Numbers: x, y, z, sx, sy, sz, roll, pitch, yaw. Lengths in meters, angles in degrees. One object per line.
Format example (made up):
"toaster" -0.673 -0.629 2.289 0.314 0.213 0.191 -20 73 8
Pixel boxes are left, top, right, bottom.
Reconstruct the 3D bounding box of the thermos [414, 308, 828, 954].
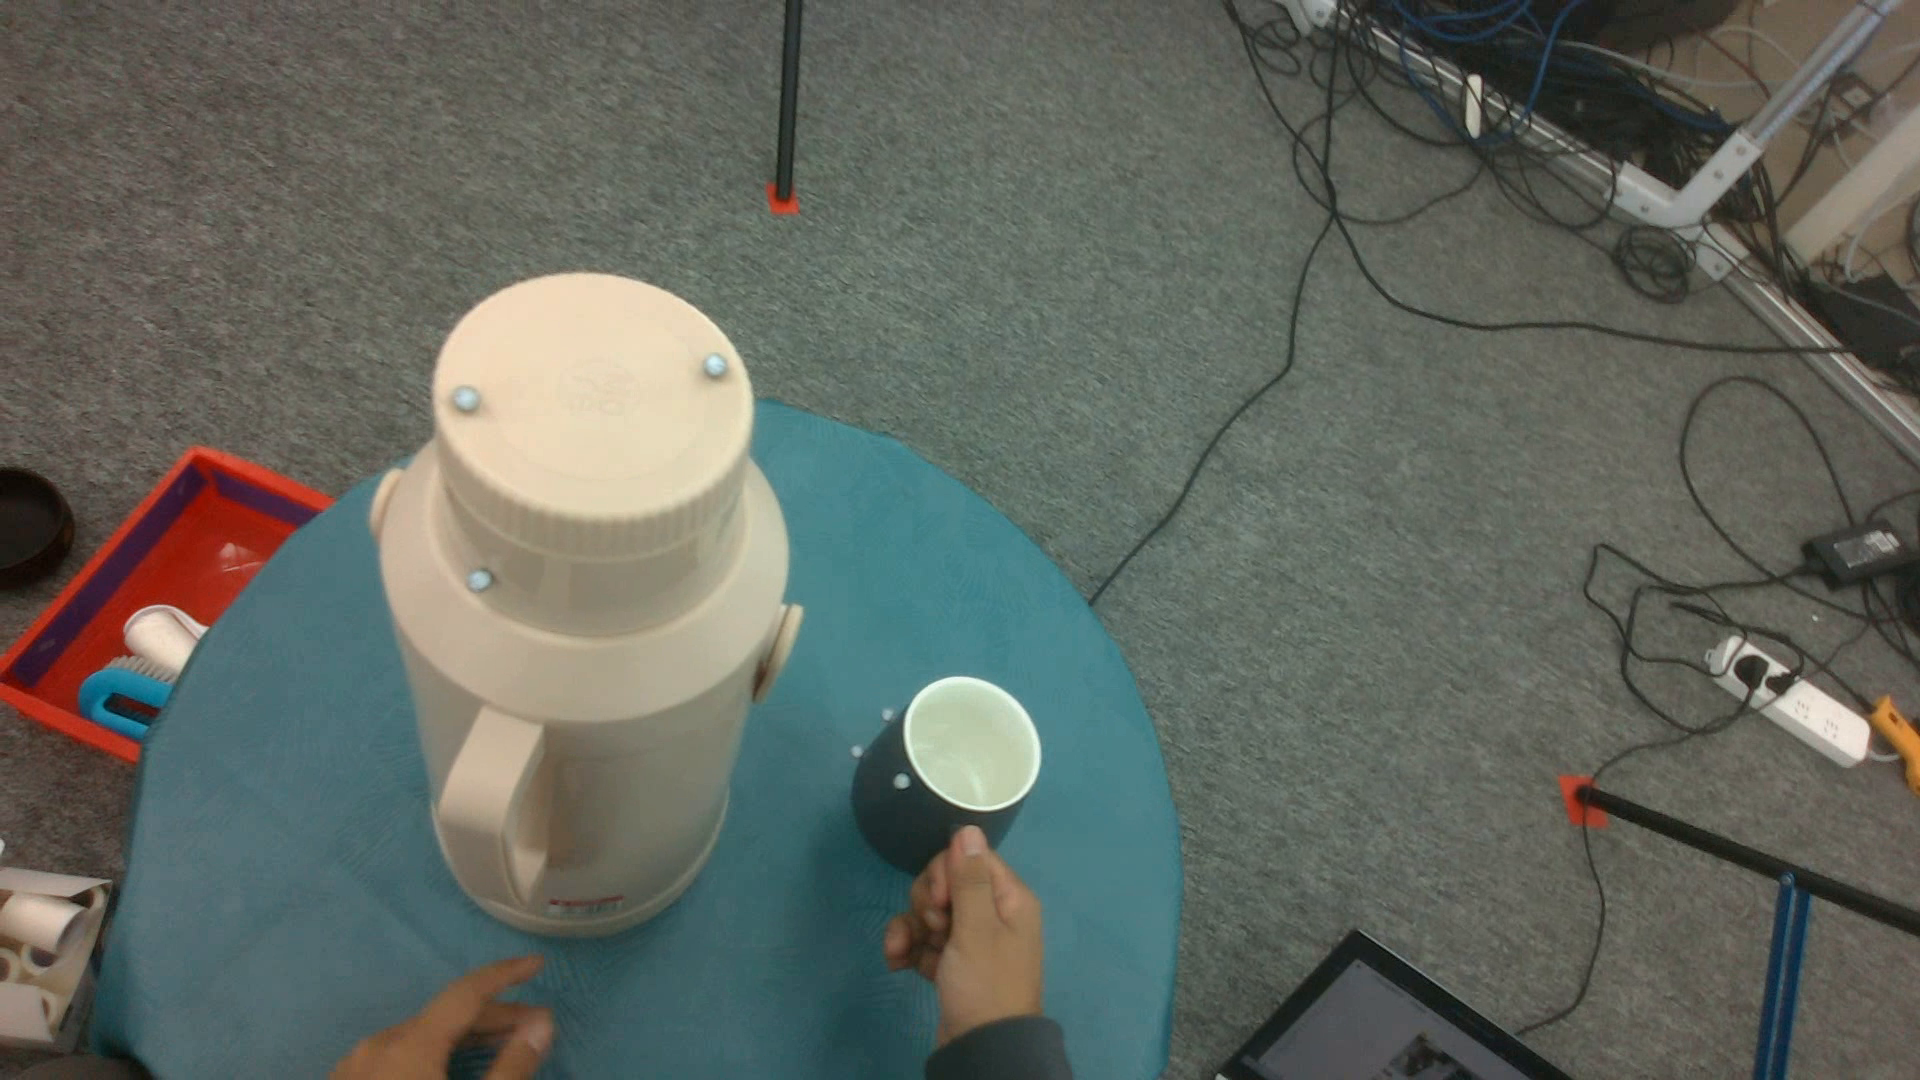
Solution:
"thermos" -0.163 0.073 0.641 0.175 0.404 0.208 17 55 -4

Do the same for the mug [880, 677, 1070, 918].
"mug" 0.009 0.145 0.759 0.093 0.089 0.124 10 52 -15
